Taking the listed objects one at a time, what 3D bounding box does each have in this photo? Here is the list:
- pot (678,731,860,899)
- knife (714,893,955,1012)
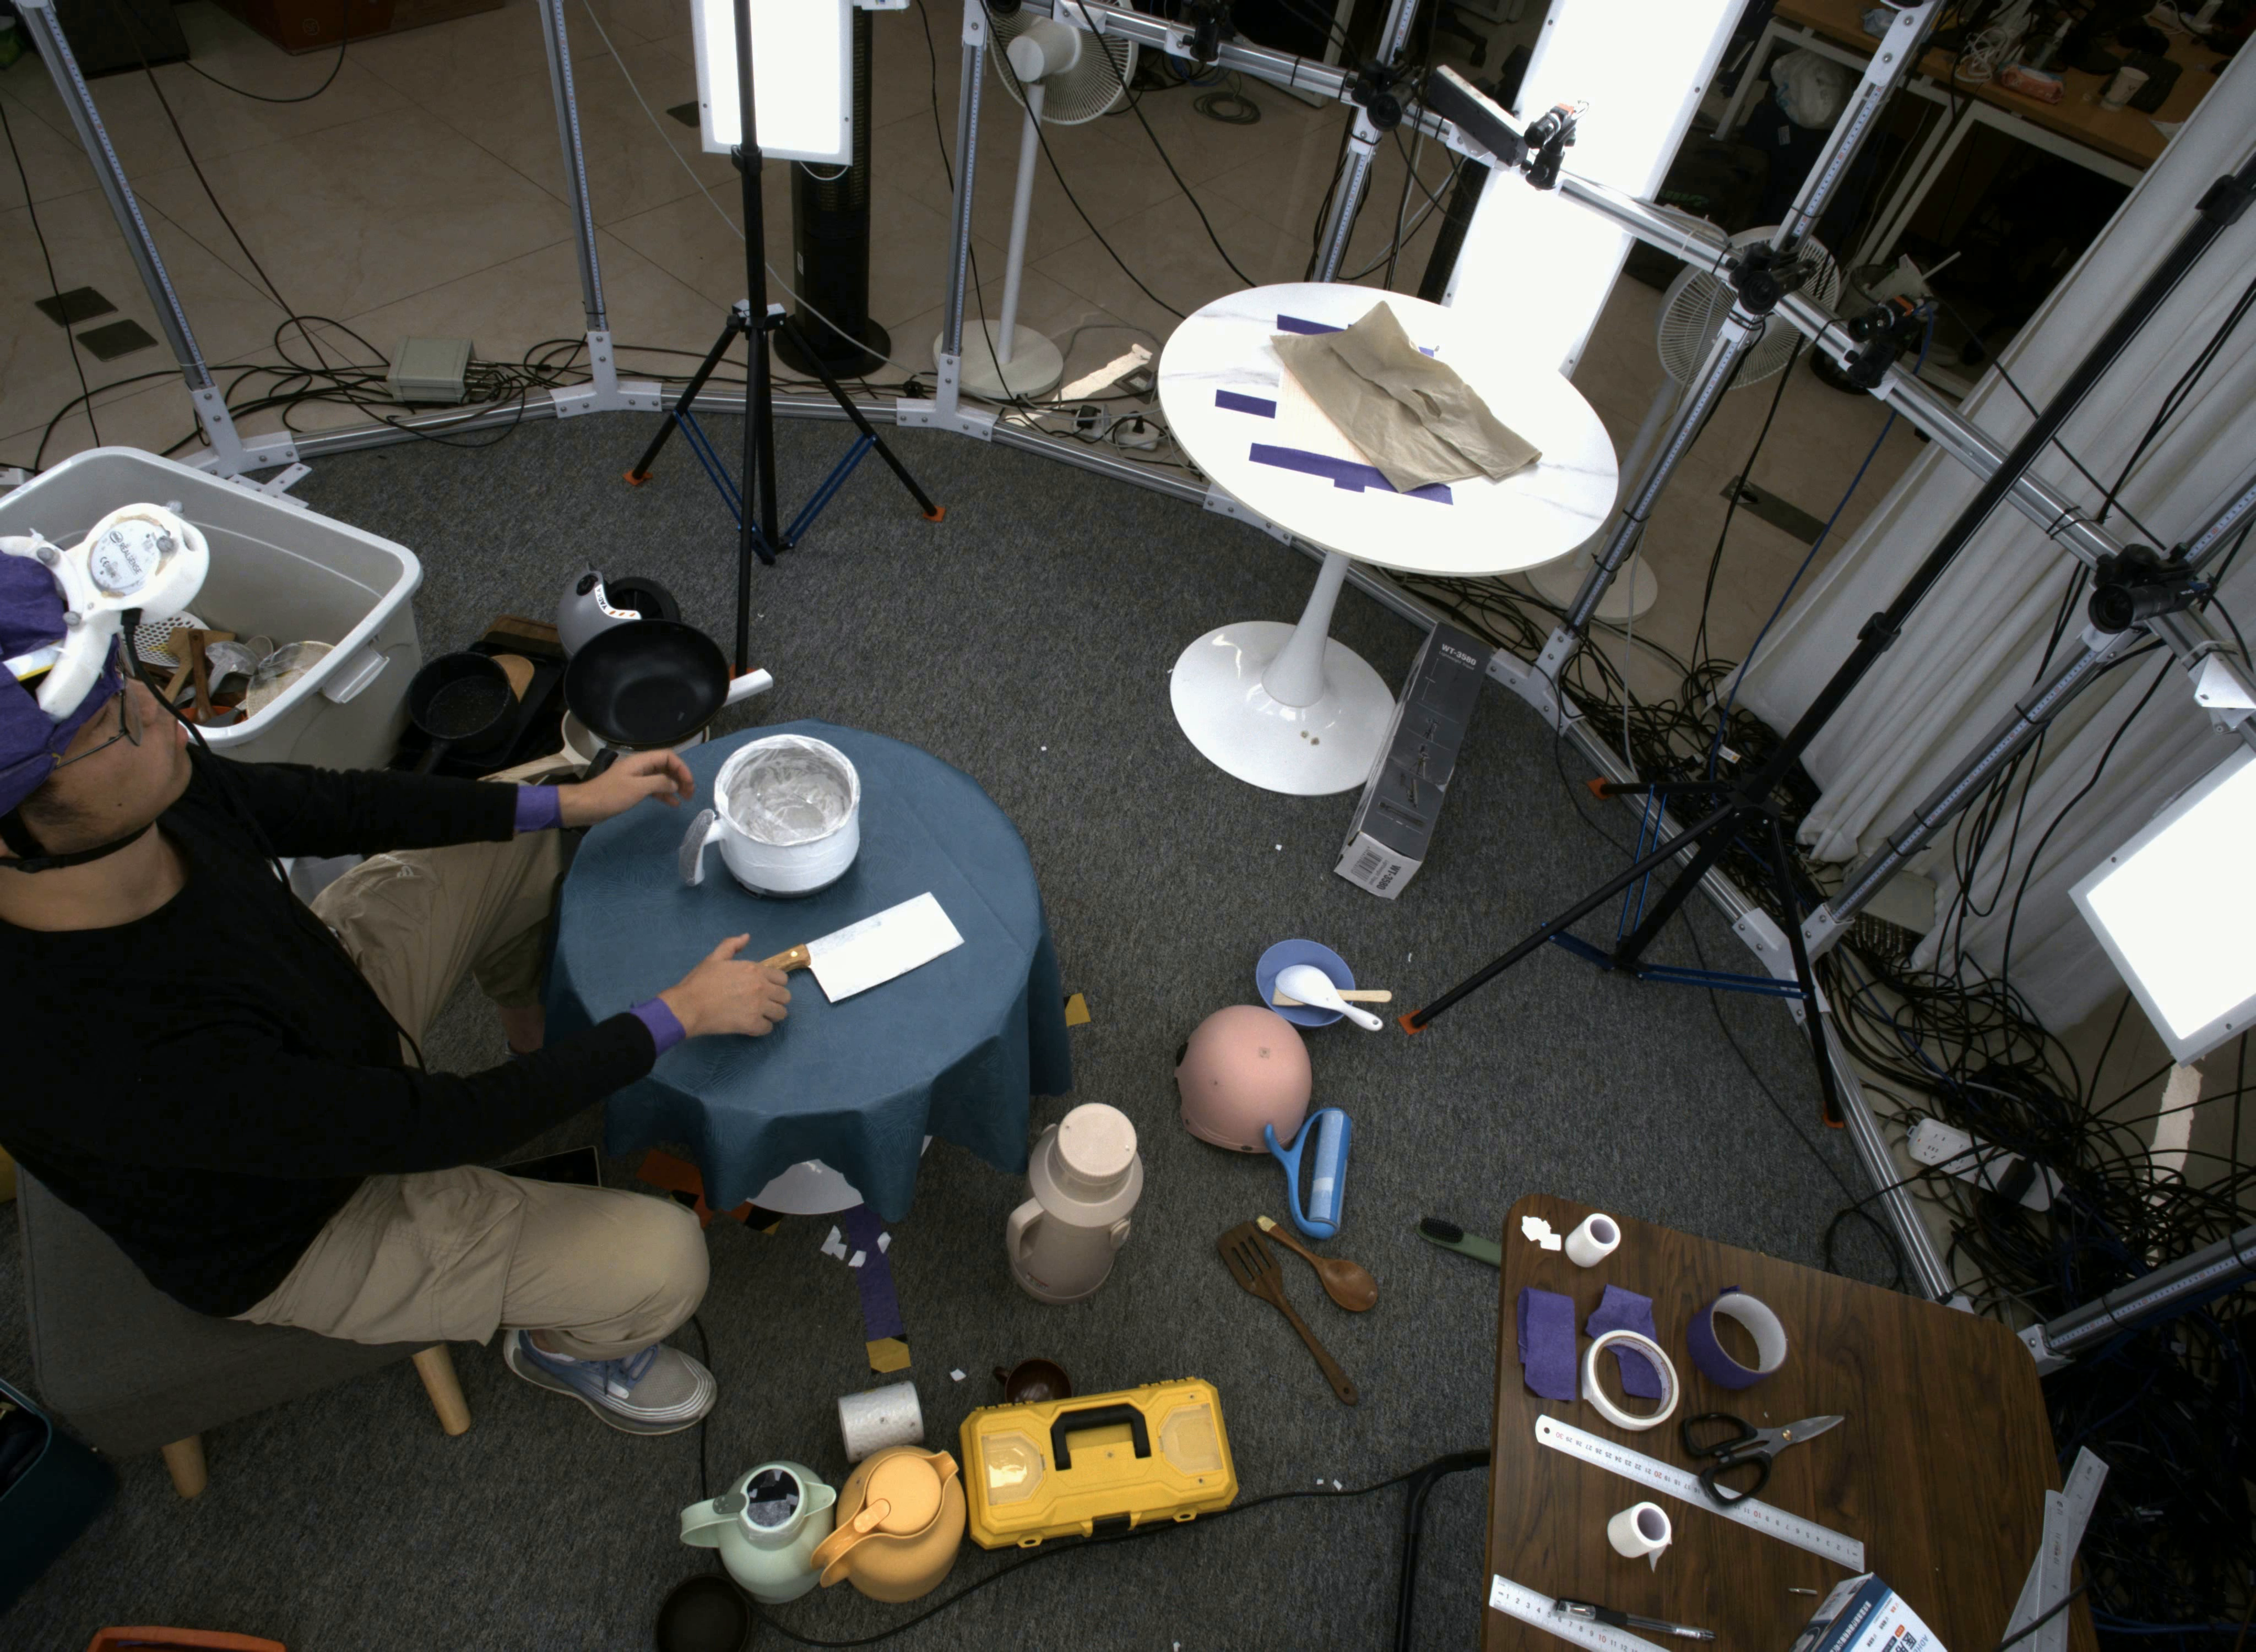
[{"bbox_3d":[-0.452,-0.002,1.625,0.235,0.139,0.174,-22,60,-29],"label":"pot"},{"bbox_3d":[-0.354,0.167,1.606,0.307,0.021,0.090,-24,62,-30],"label":"knife"}]
